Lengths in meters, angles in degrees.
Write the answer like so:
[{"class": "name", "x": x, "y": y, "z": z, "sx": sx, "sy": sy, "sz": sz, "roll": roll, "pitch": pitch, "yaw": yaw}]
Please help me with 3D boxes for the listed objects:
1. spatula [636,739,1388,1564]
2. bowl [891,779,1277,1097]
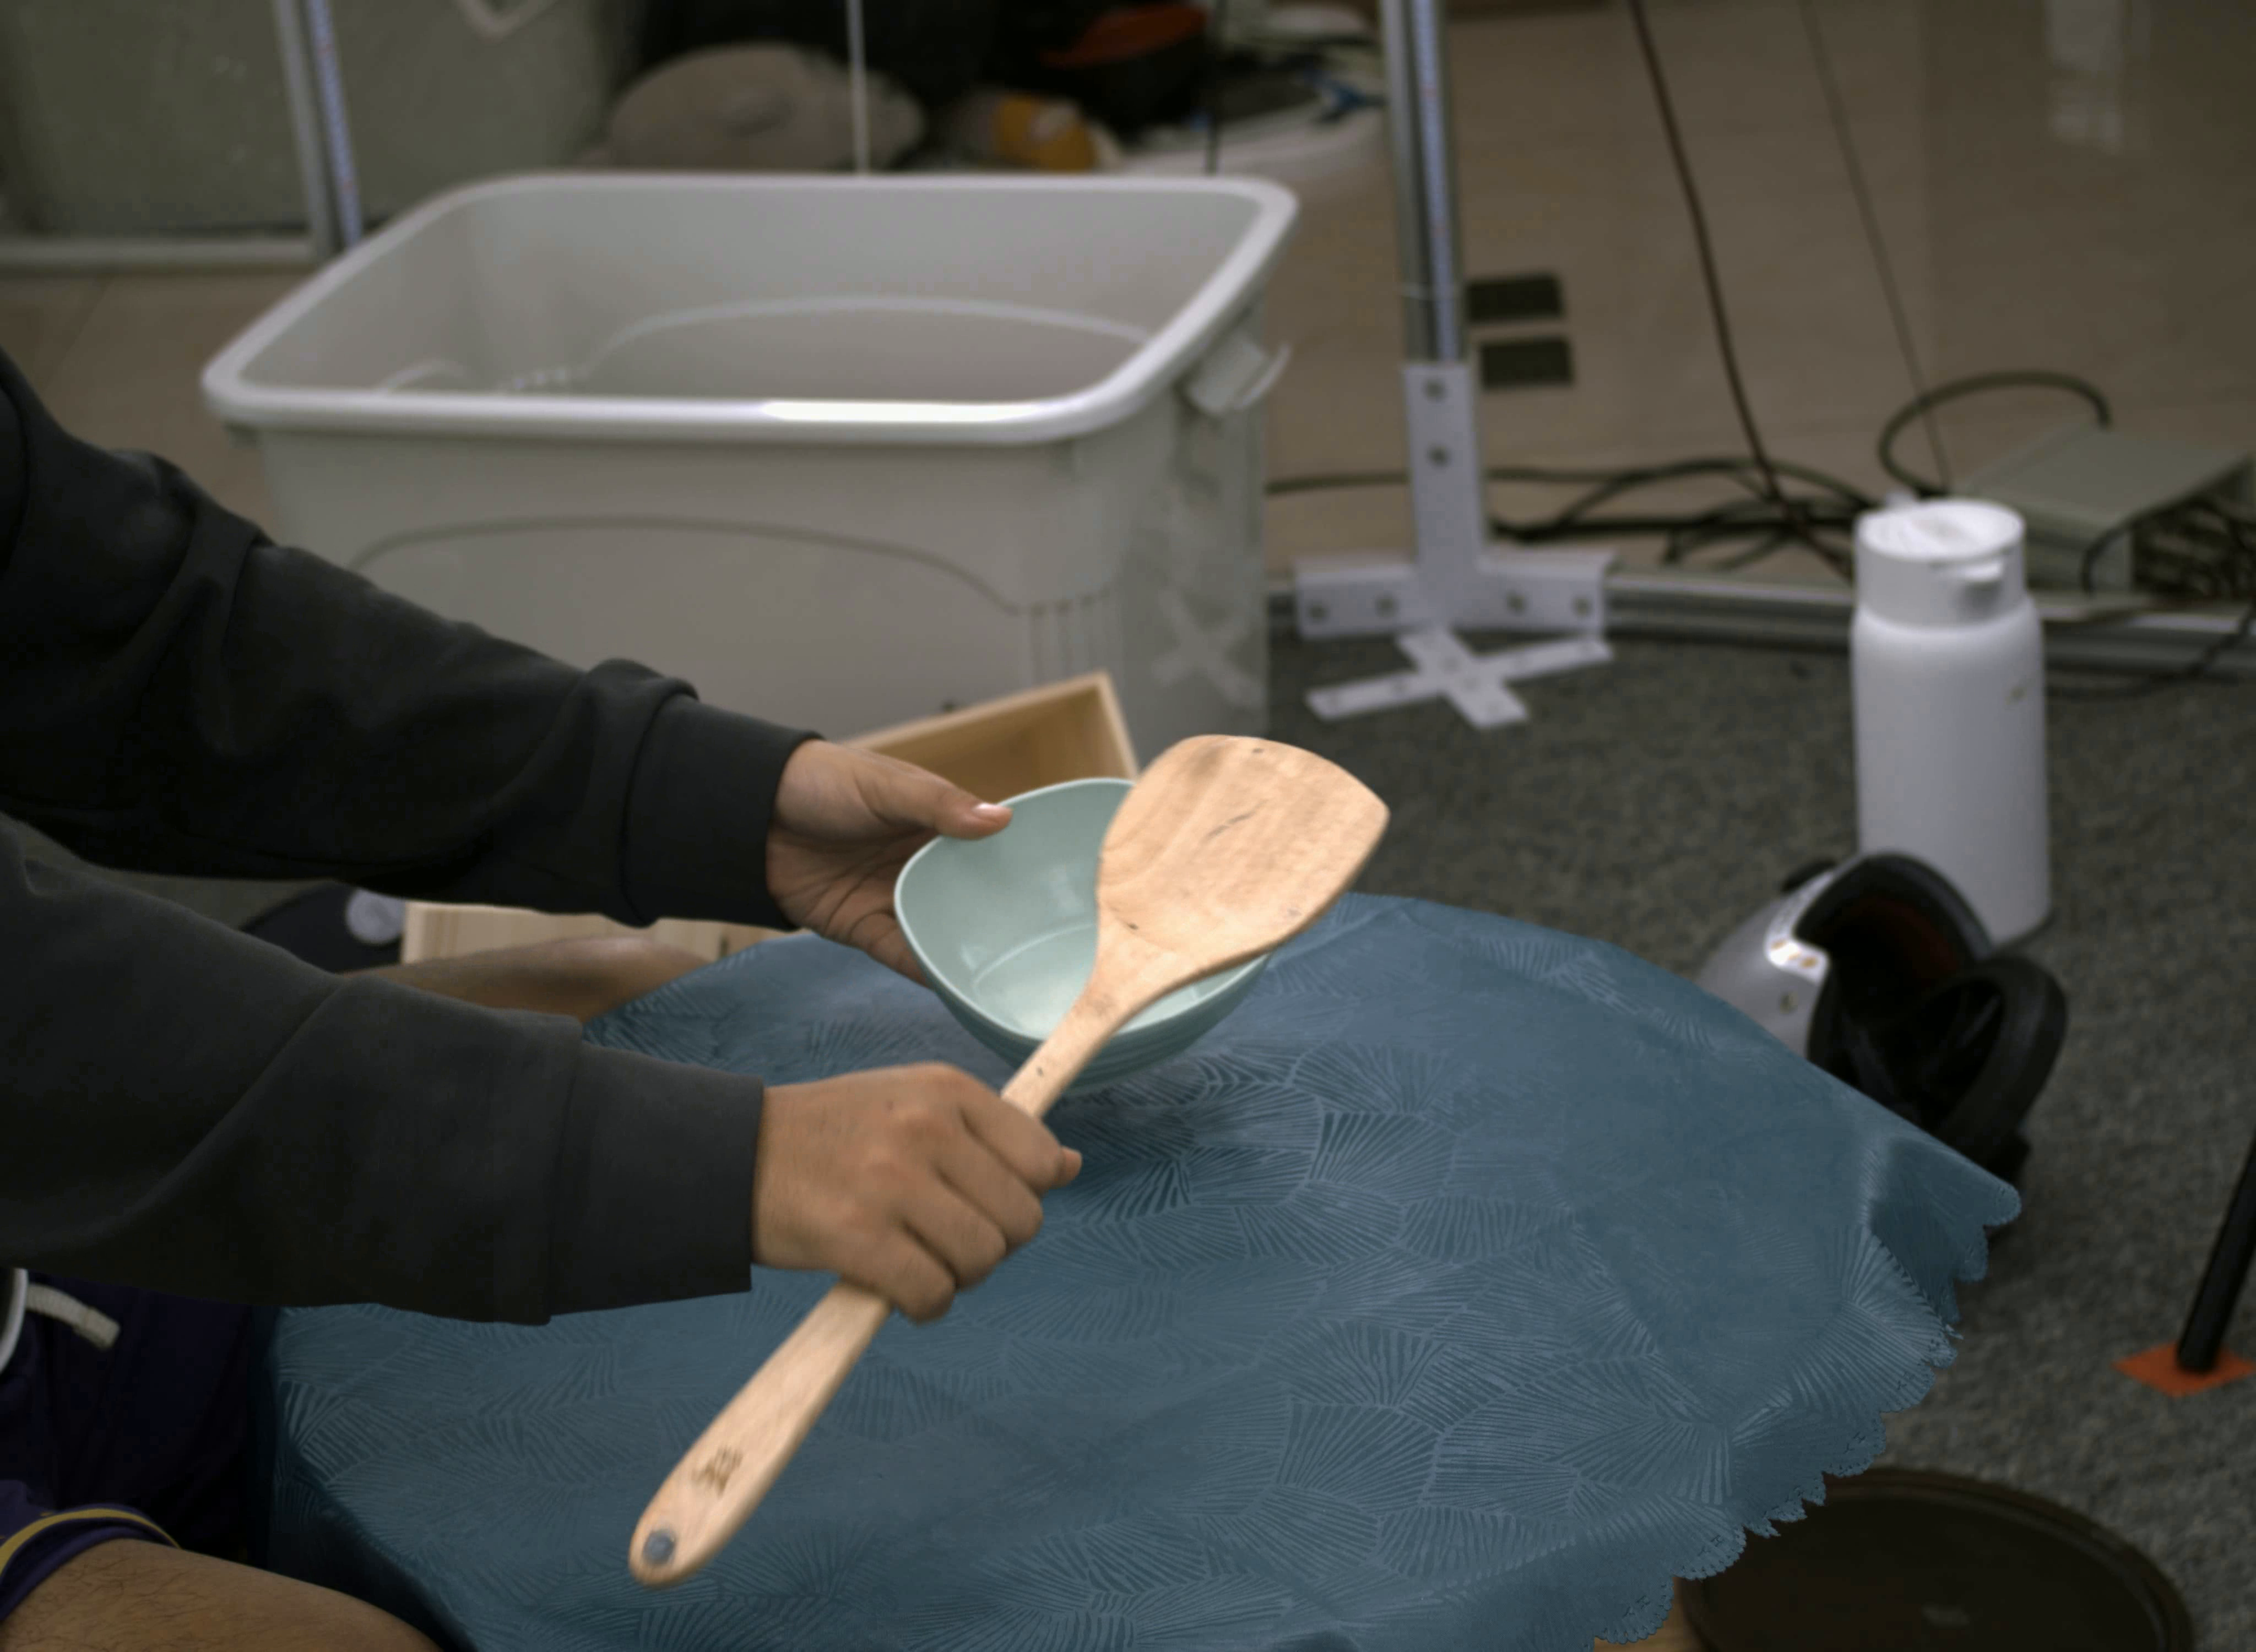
[{"class": "spatula", "x": -0.043, "y": 0.105, "z": 1.899, "sx": 0.095, "sy": 0.019, "sz": 0.386, "roll": 20, "pitch": 53, "yaw": 28}, {"class": "bowl", "x": -0.018, "y": 0.052, "z": 2.211, "sx": 0.151, "sy": 0.060, "sz": 0.148, "roll": 1, "pitch": 44, "yaw": -1}]
